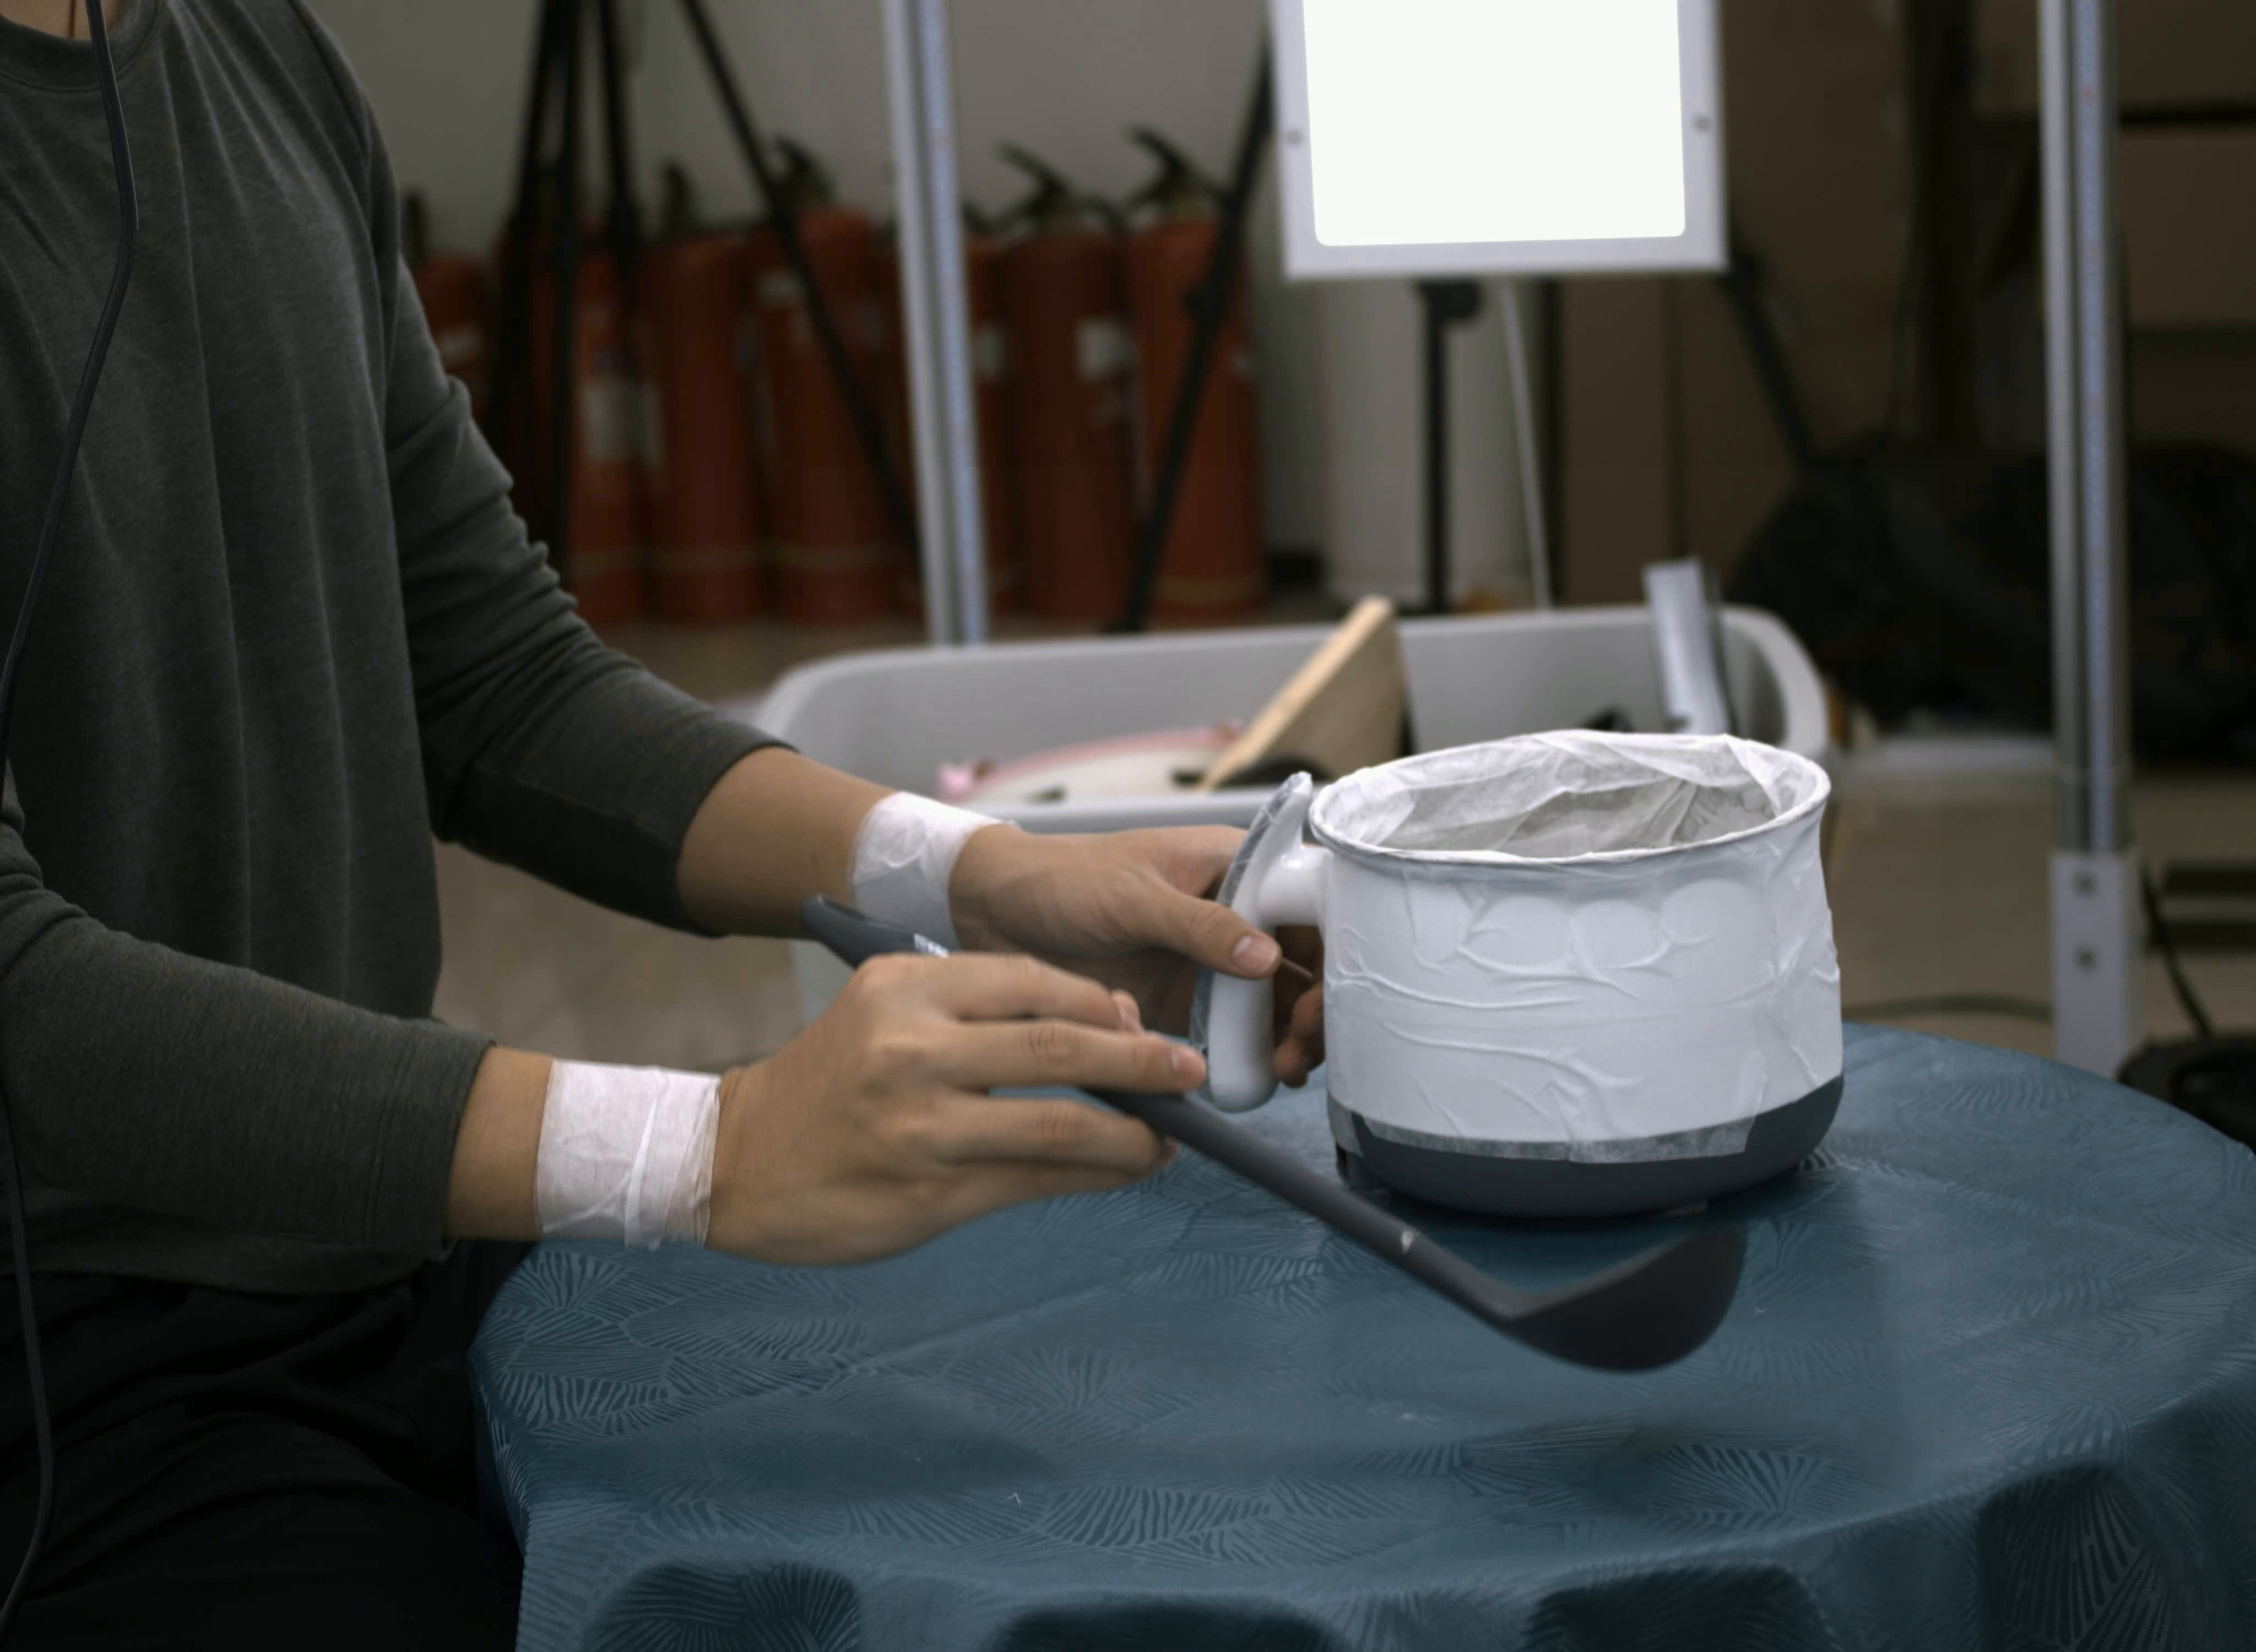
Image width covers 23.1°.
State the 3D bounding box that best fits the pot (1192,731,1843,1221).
[{"bbox_3d":[0.129,0.050,1.882,0.237,0.137,0.175,1,15,25],"label":"pot"}]

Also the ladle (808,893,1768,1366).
[{"bbox_3d":[0.044,0.074,1.646,0.317,0.064,0.085,28,10,19],"label":"ladle"}]
